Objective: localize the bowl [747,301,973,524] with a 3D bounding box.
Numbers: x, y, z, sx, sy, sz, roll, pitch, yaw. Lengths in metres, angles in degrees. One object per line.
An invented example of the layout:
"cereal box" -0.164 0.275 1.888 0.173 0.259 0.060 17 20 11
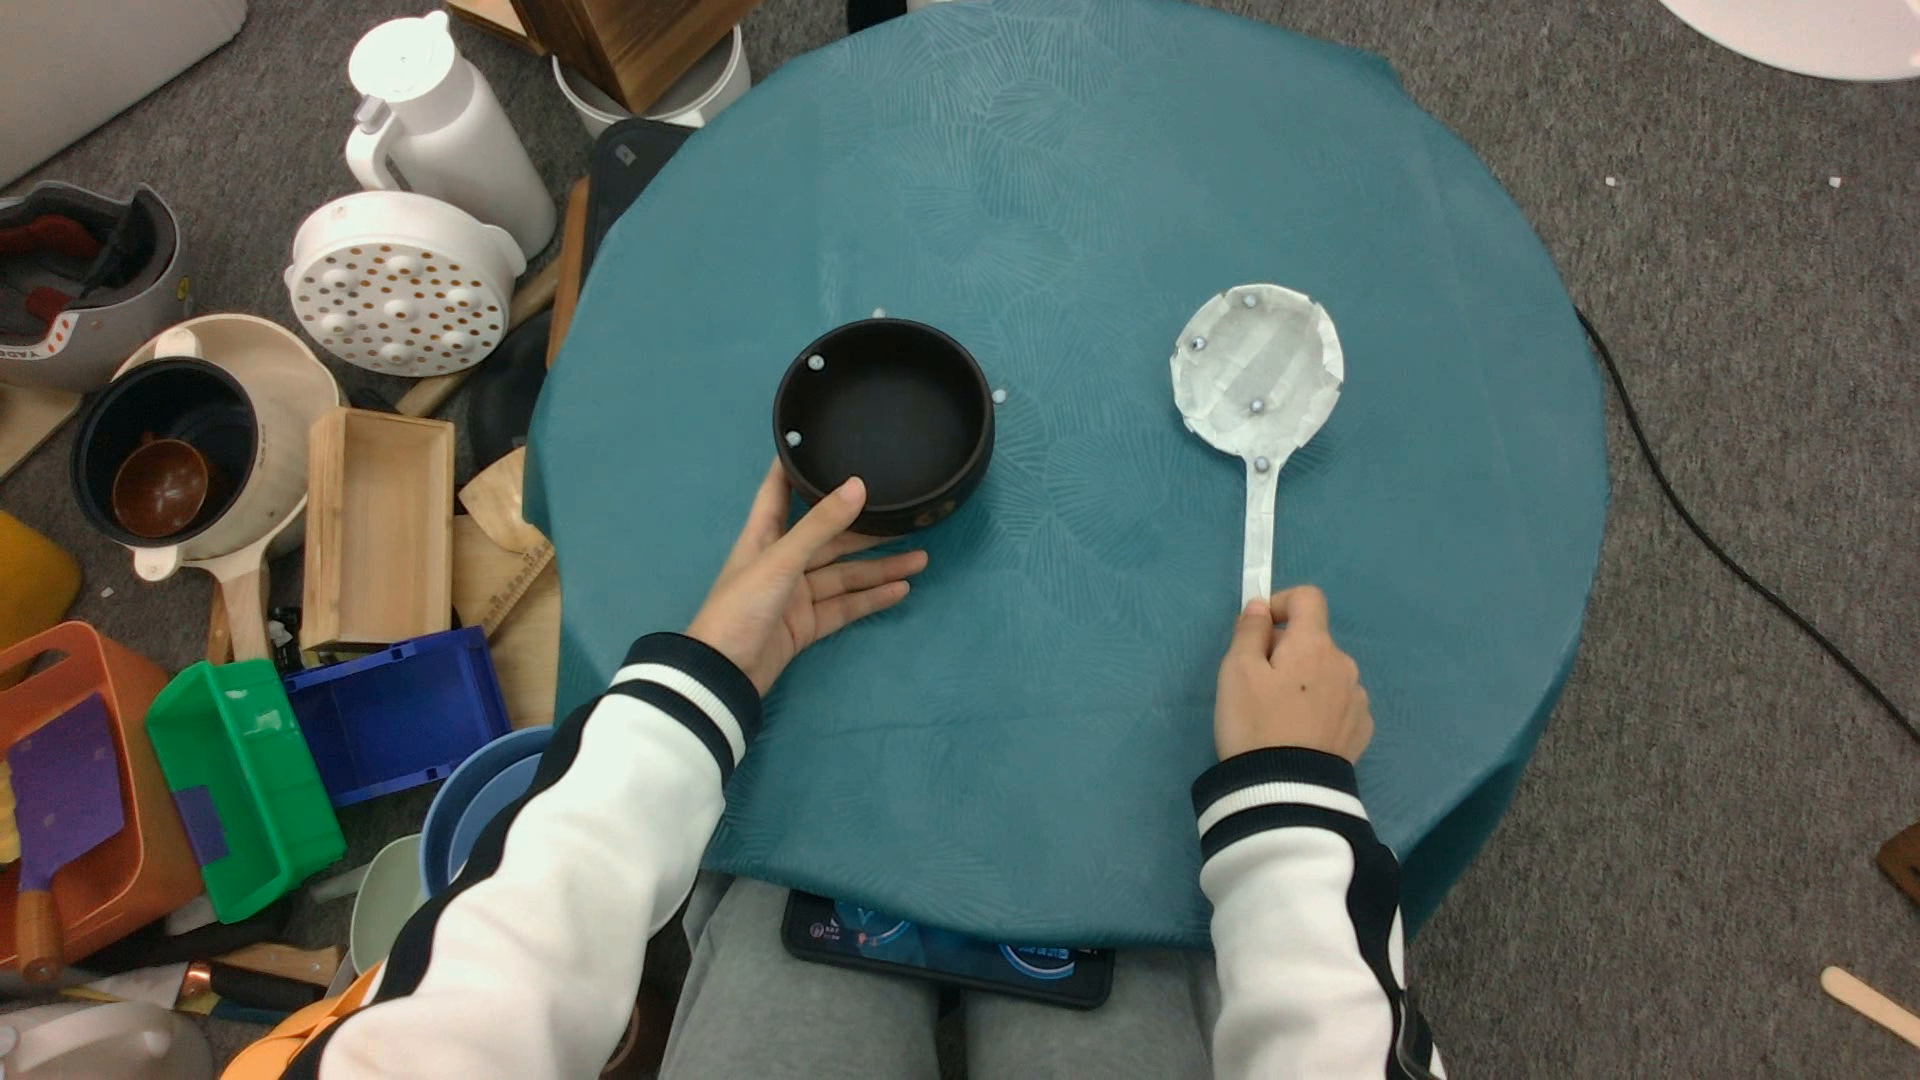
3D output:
"bowl" -0.051 -0.062 0.741 0.118 0.069 0.118 -1 69 2

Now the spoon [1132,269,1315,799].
"spoon" 0.127 -0.009 0.713 0.100 0.059 0.278 -3 63 30
